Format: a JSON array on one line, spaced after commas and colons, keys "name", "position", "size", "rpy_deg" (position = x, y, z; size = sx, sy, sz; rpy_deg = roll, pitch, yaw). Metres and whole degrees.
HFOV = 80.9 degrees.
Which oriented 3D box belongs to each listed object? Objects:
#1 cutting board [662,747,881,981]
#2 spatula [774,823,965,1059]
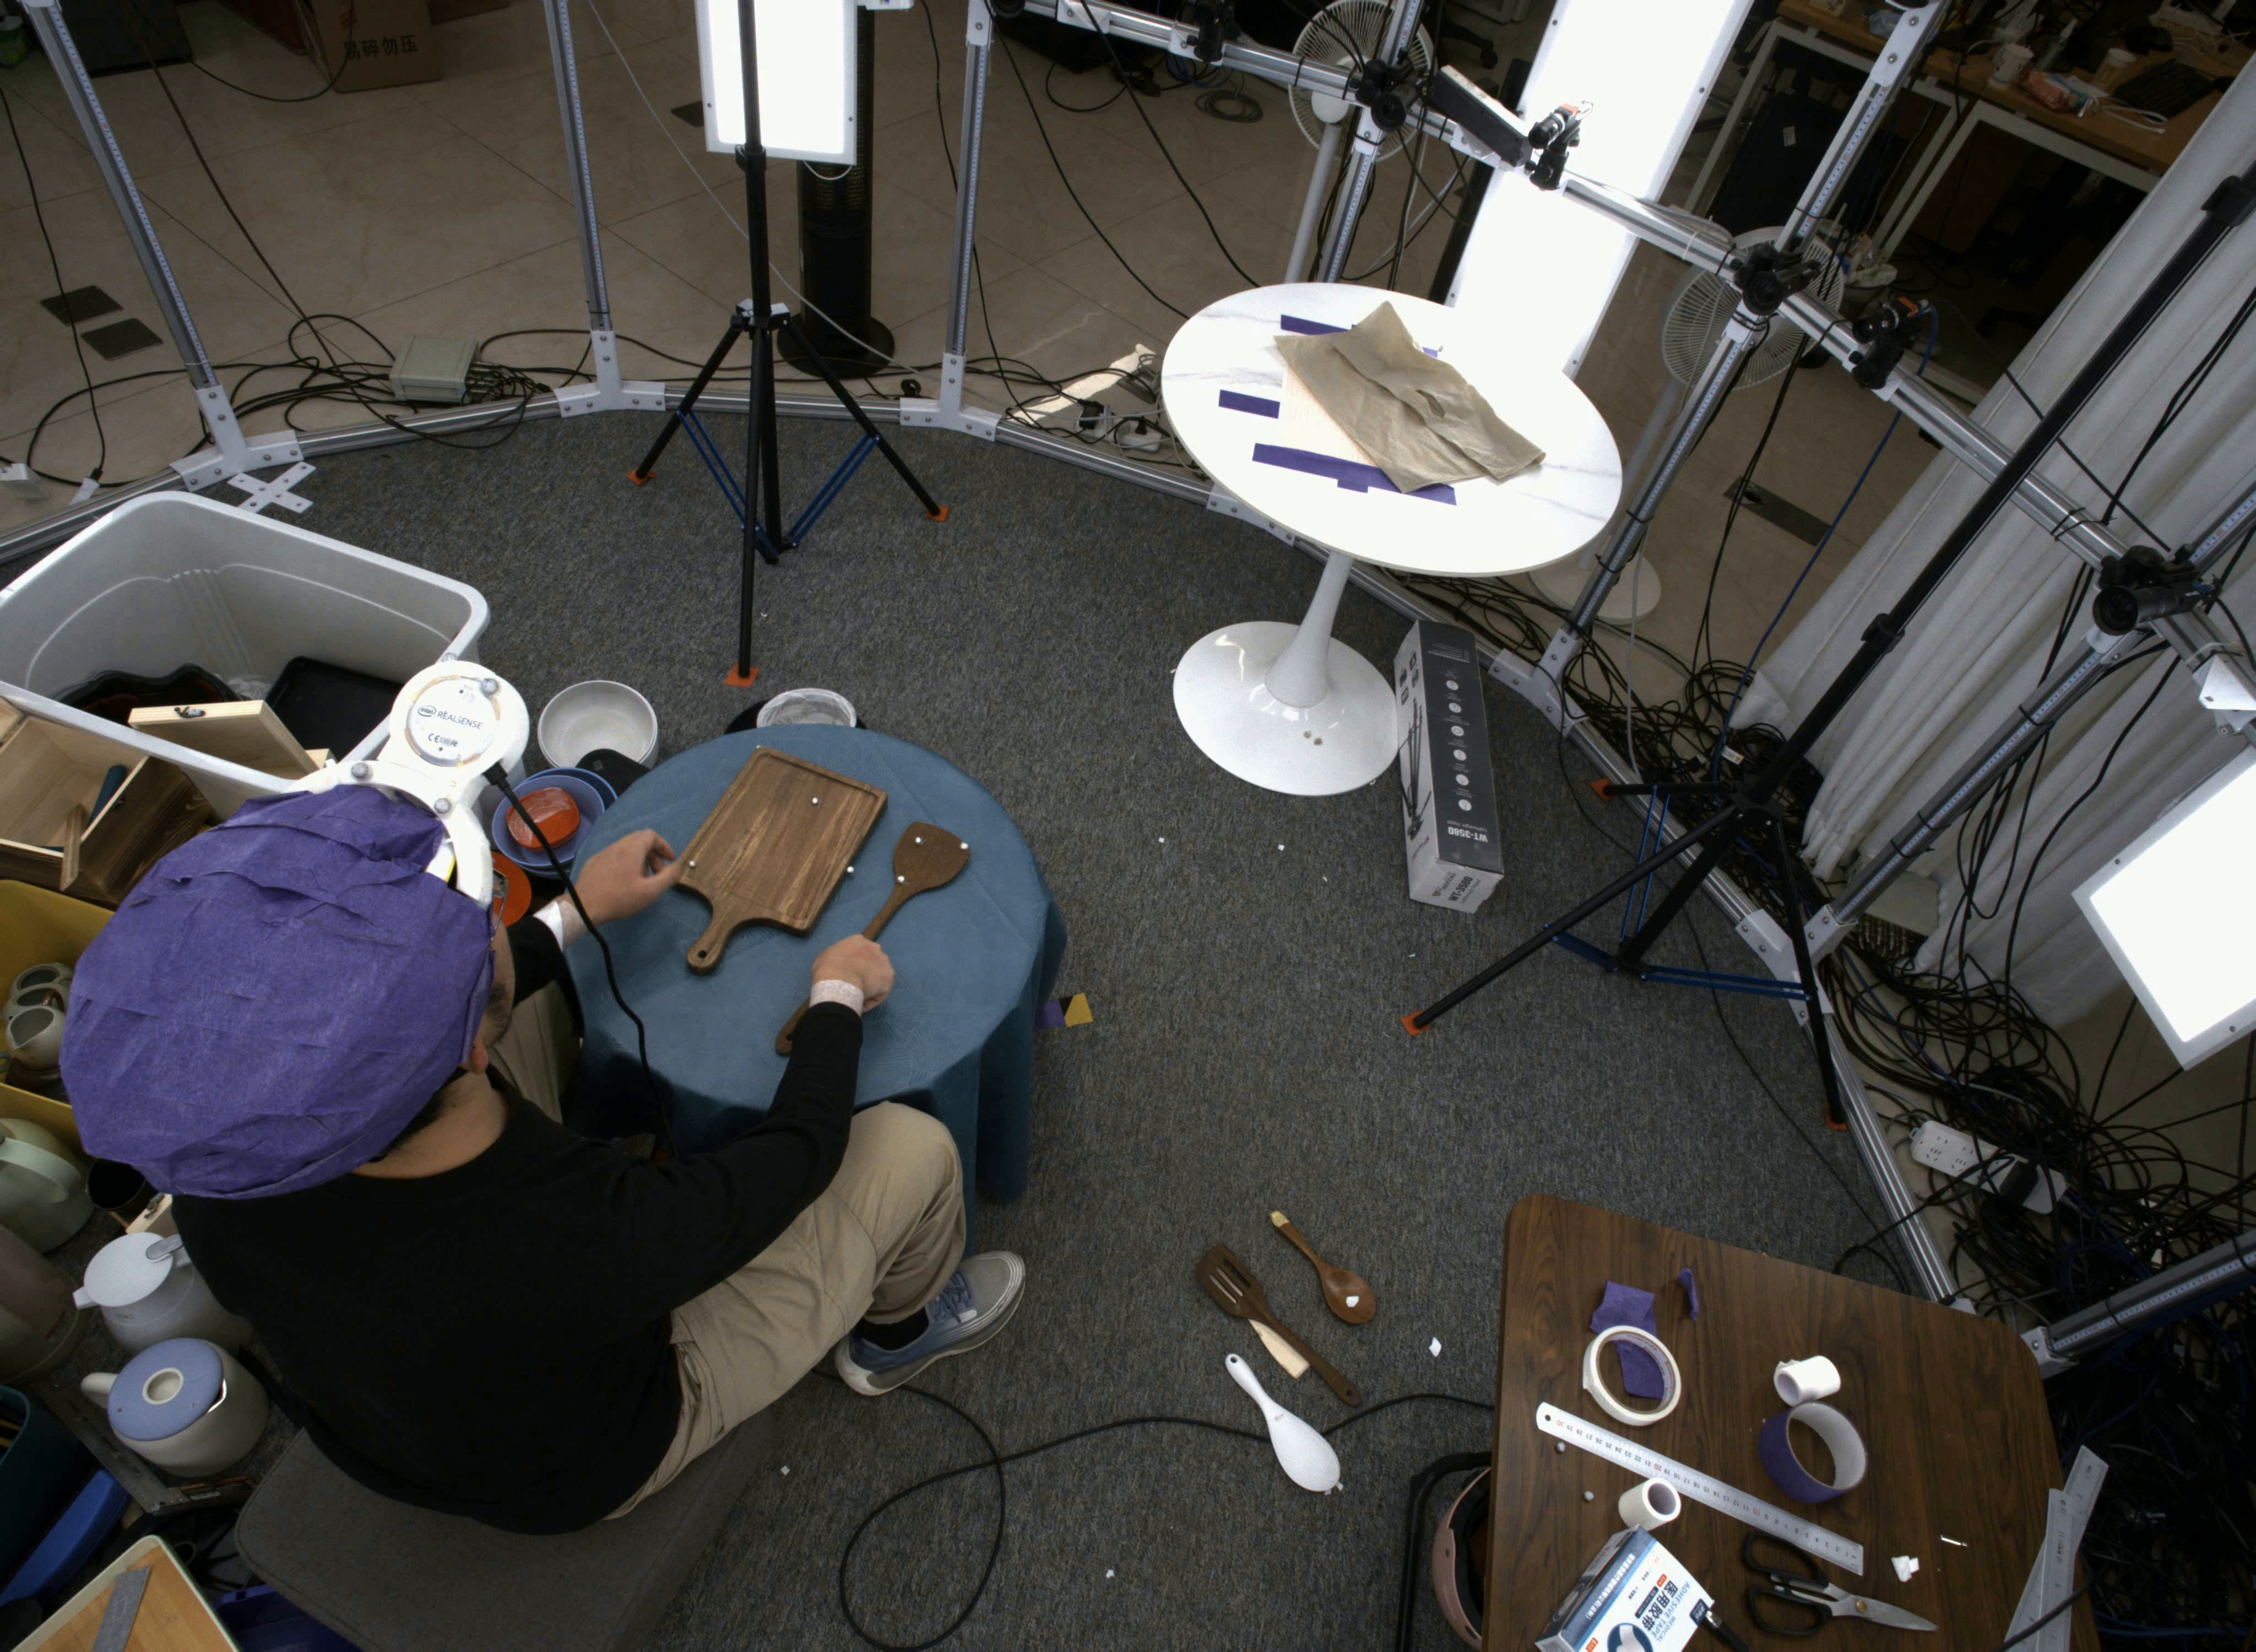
[{"name": "cutting board", "position": [-0.473, 0.050, 1.655], "size": [0.199, 0.023, 0.348], "rpy_deg": [20, 51, 1]}, {"name": "spatula", "position": [-0.330, 0.136, 1.631], "size": [0.094, 0.016, 0.383], "rpy_deg": [26, 52, 7]}]
